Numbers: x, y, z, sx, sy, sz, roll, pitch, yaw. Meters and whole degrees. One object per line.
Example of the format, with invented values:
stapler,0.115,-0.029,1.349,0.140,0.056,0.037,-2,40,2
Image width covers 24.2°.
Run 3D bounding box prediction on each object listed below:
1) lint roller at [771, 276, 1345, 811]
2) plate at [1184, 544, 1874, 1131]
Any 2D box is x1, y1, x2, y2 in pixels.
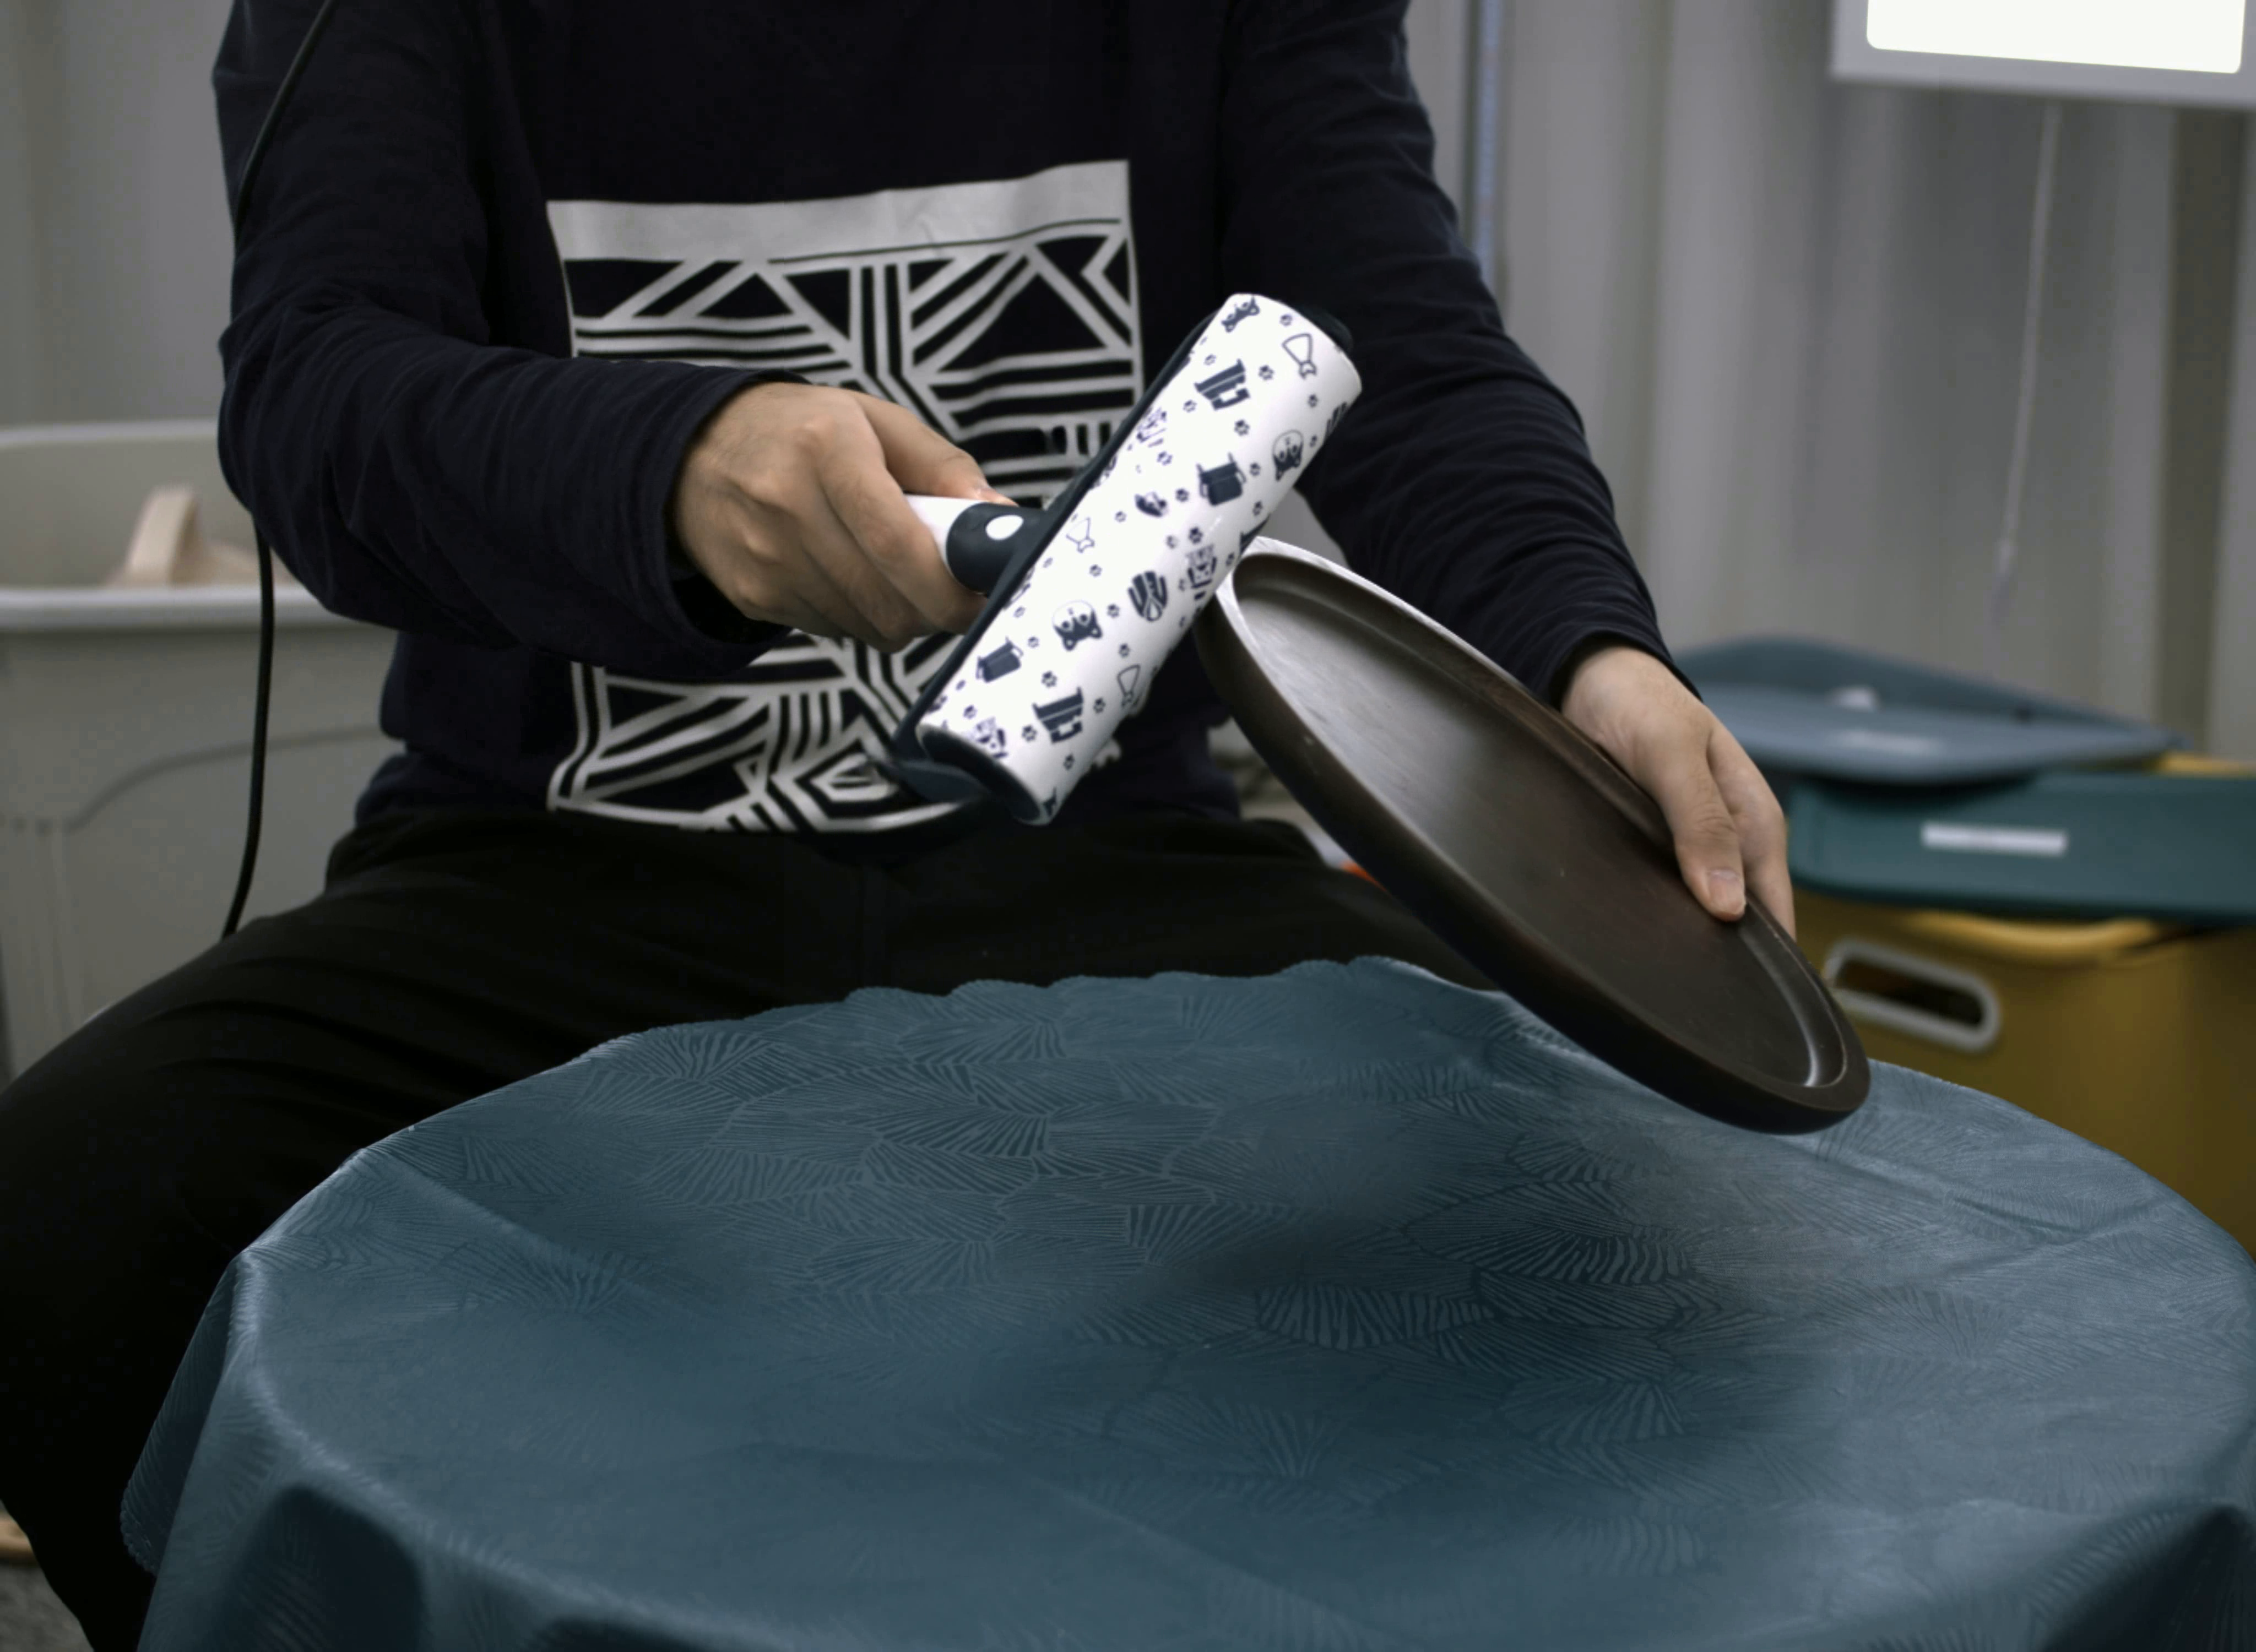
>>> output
lint roller,-0.051,-0.086,1.572,0.176,0.051,0.244,-55,28,-16
plate,0.116,0.003,1.549,0.256,0.029,0.253,38,14,-10
